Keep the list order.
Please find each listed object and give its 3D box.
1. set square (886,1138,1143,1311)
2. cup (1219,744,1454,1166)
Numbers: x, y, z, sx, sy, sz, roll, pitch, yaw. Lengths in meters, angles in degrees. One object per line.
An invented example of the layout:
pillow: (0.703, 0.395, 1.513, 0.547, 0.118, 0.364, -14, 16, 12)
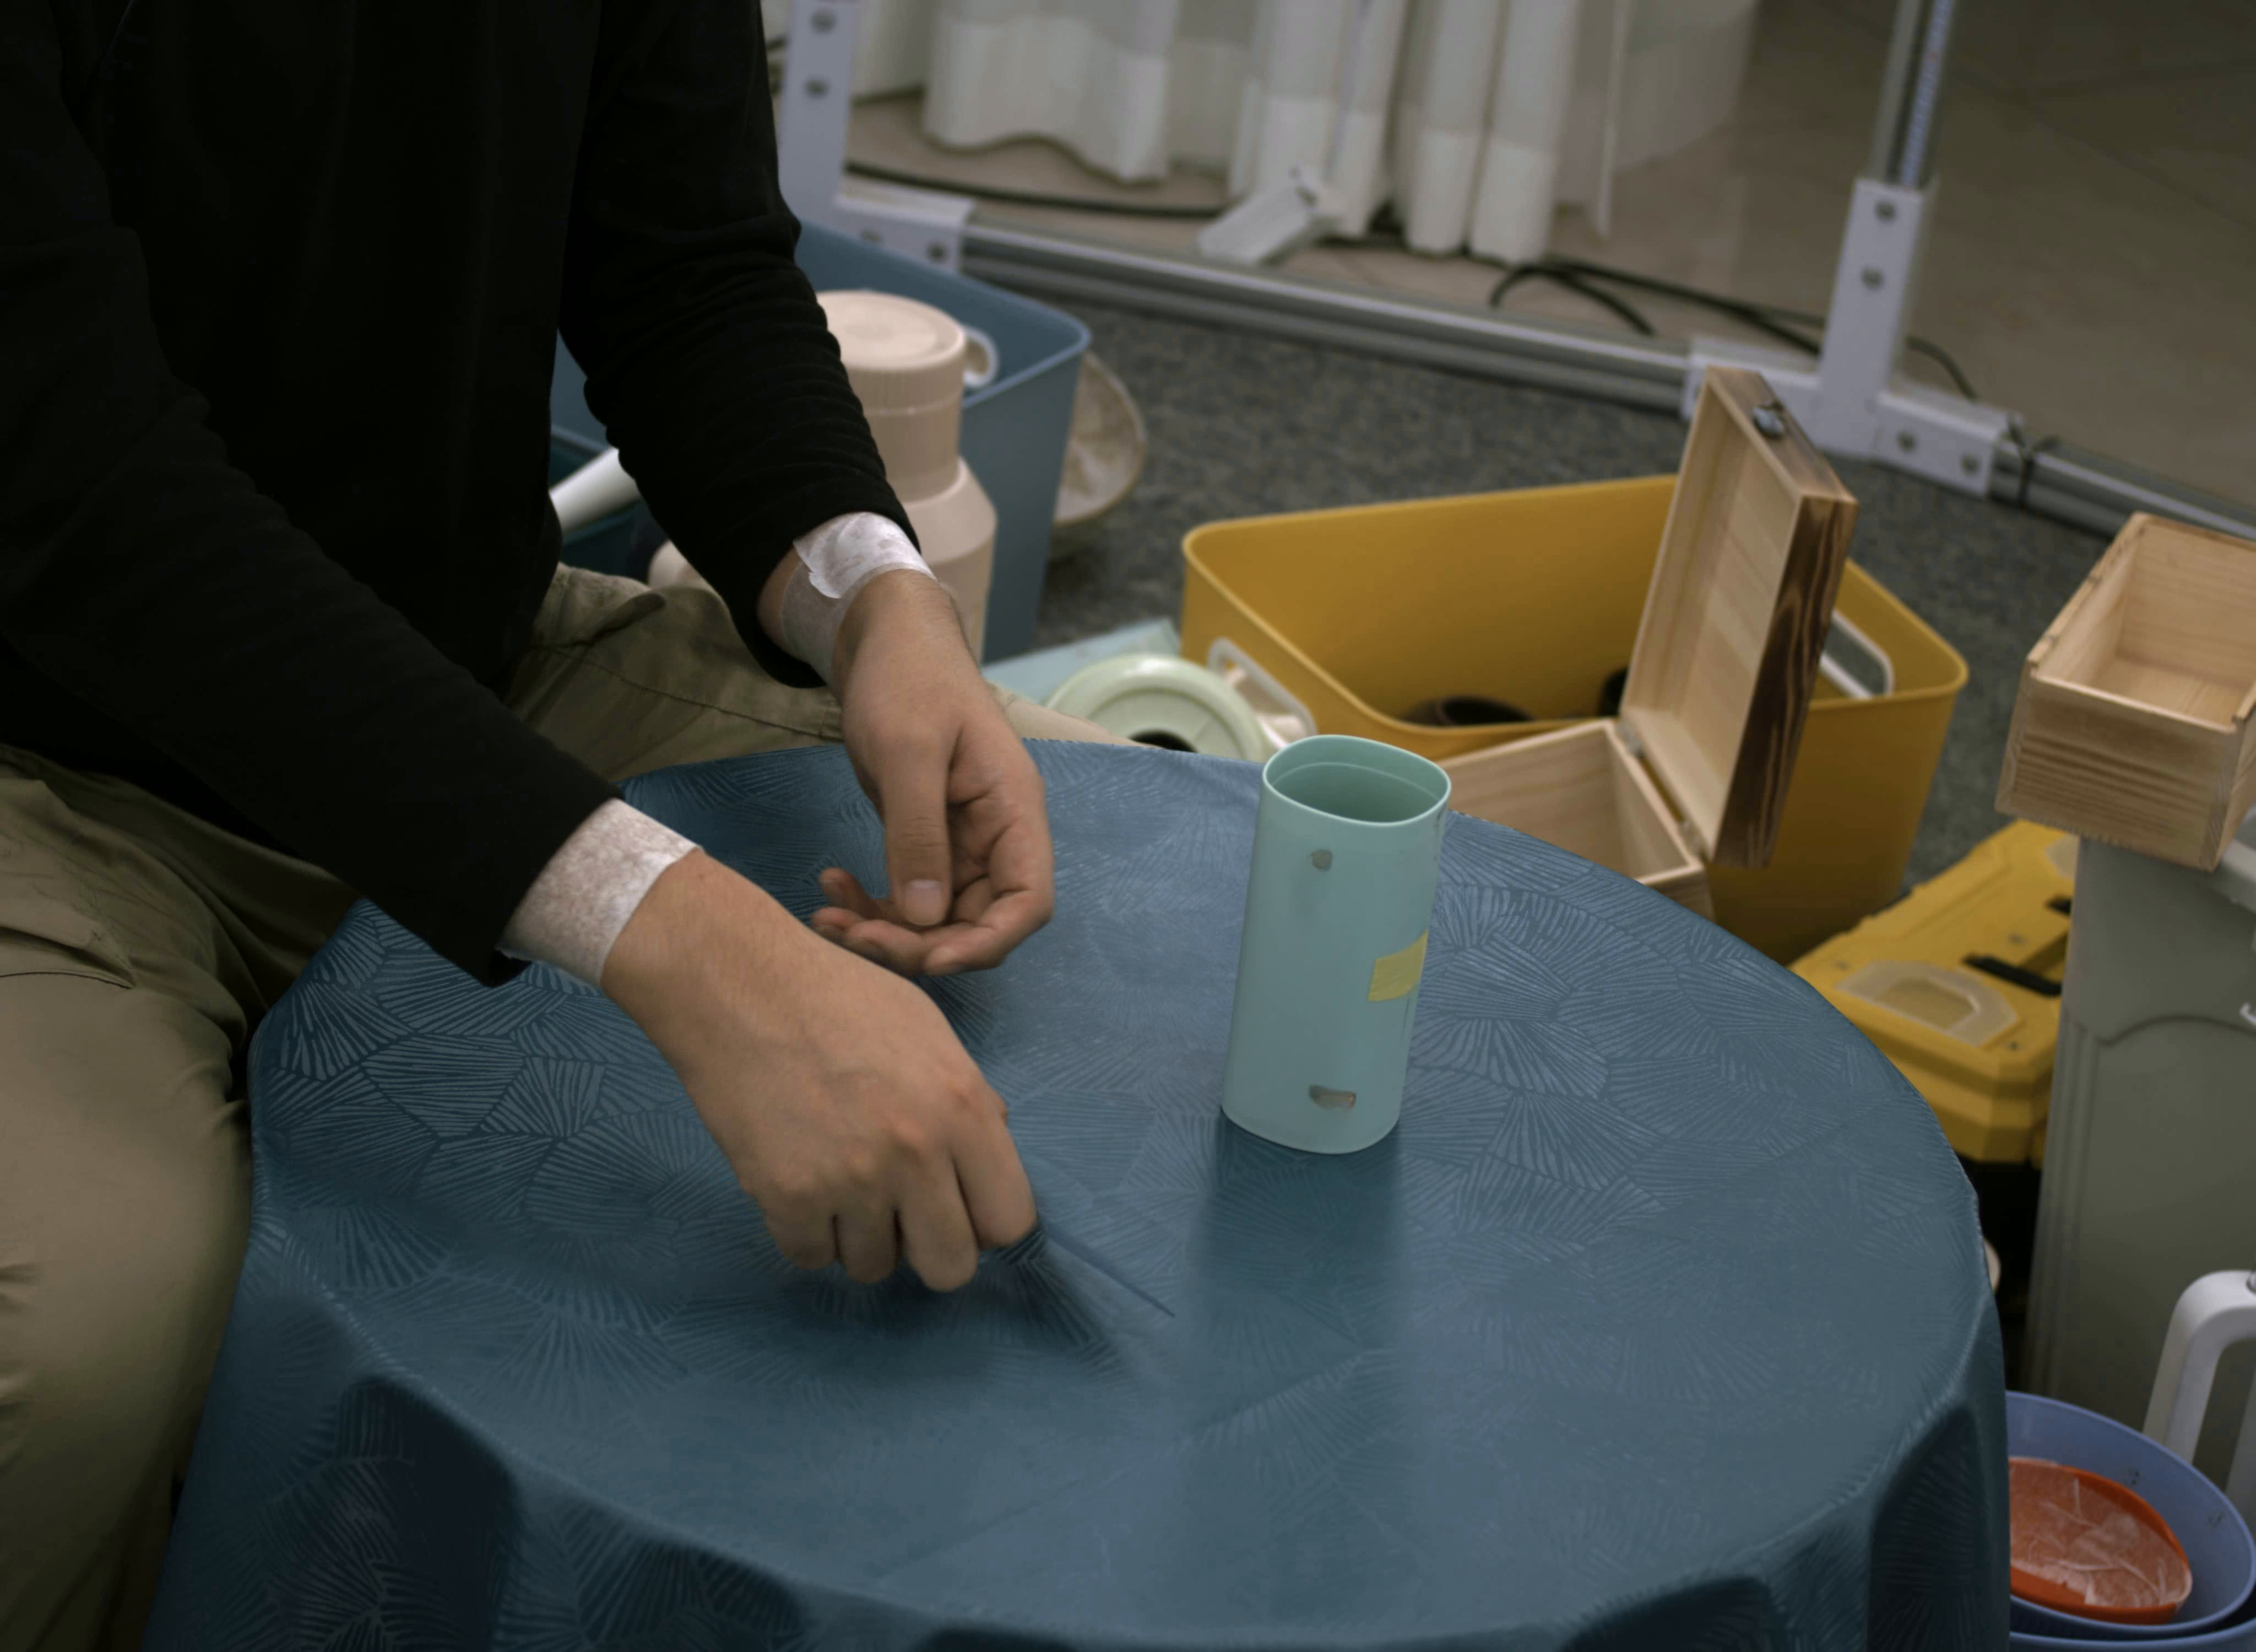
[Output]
set square: (-0.041, 0.124, 1.723, 0.060, 0.006, 0.133, 28, 3, -30)
cup: (0.070, 0.044, 1.838, 0.066, 0.132, 0.067, 6, 27, -3)
